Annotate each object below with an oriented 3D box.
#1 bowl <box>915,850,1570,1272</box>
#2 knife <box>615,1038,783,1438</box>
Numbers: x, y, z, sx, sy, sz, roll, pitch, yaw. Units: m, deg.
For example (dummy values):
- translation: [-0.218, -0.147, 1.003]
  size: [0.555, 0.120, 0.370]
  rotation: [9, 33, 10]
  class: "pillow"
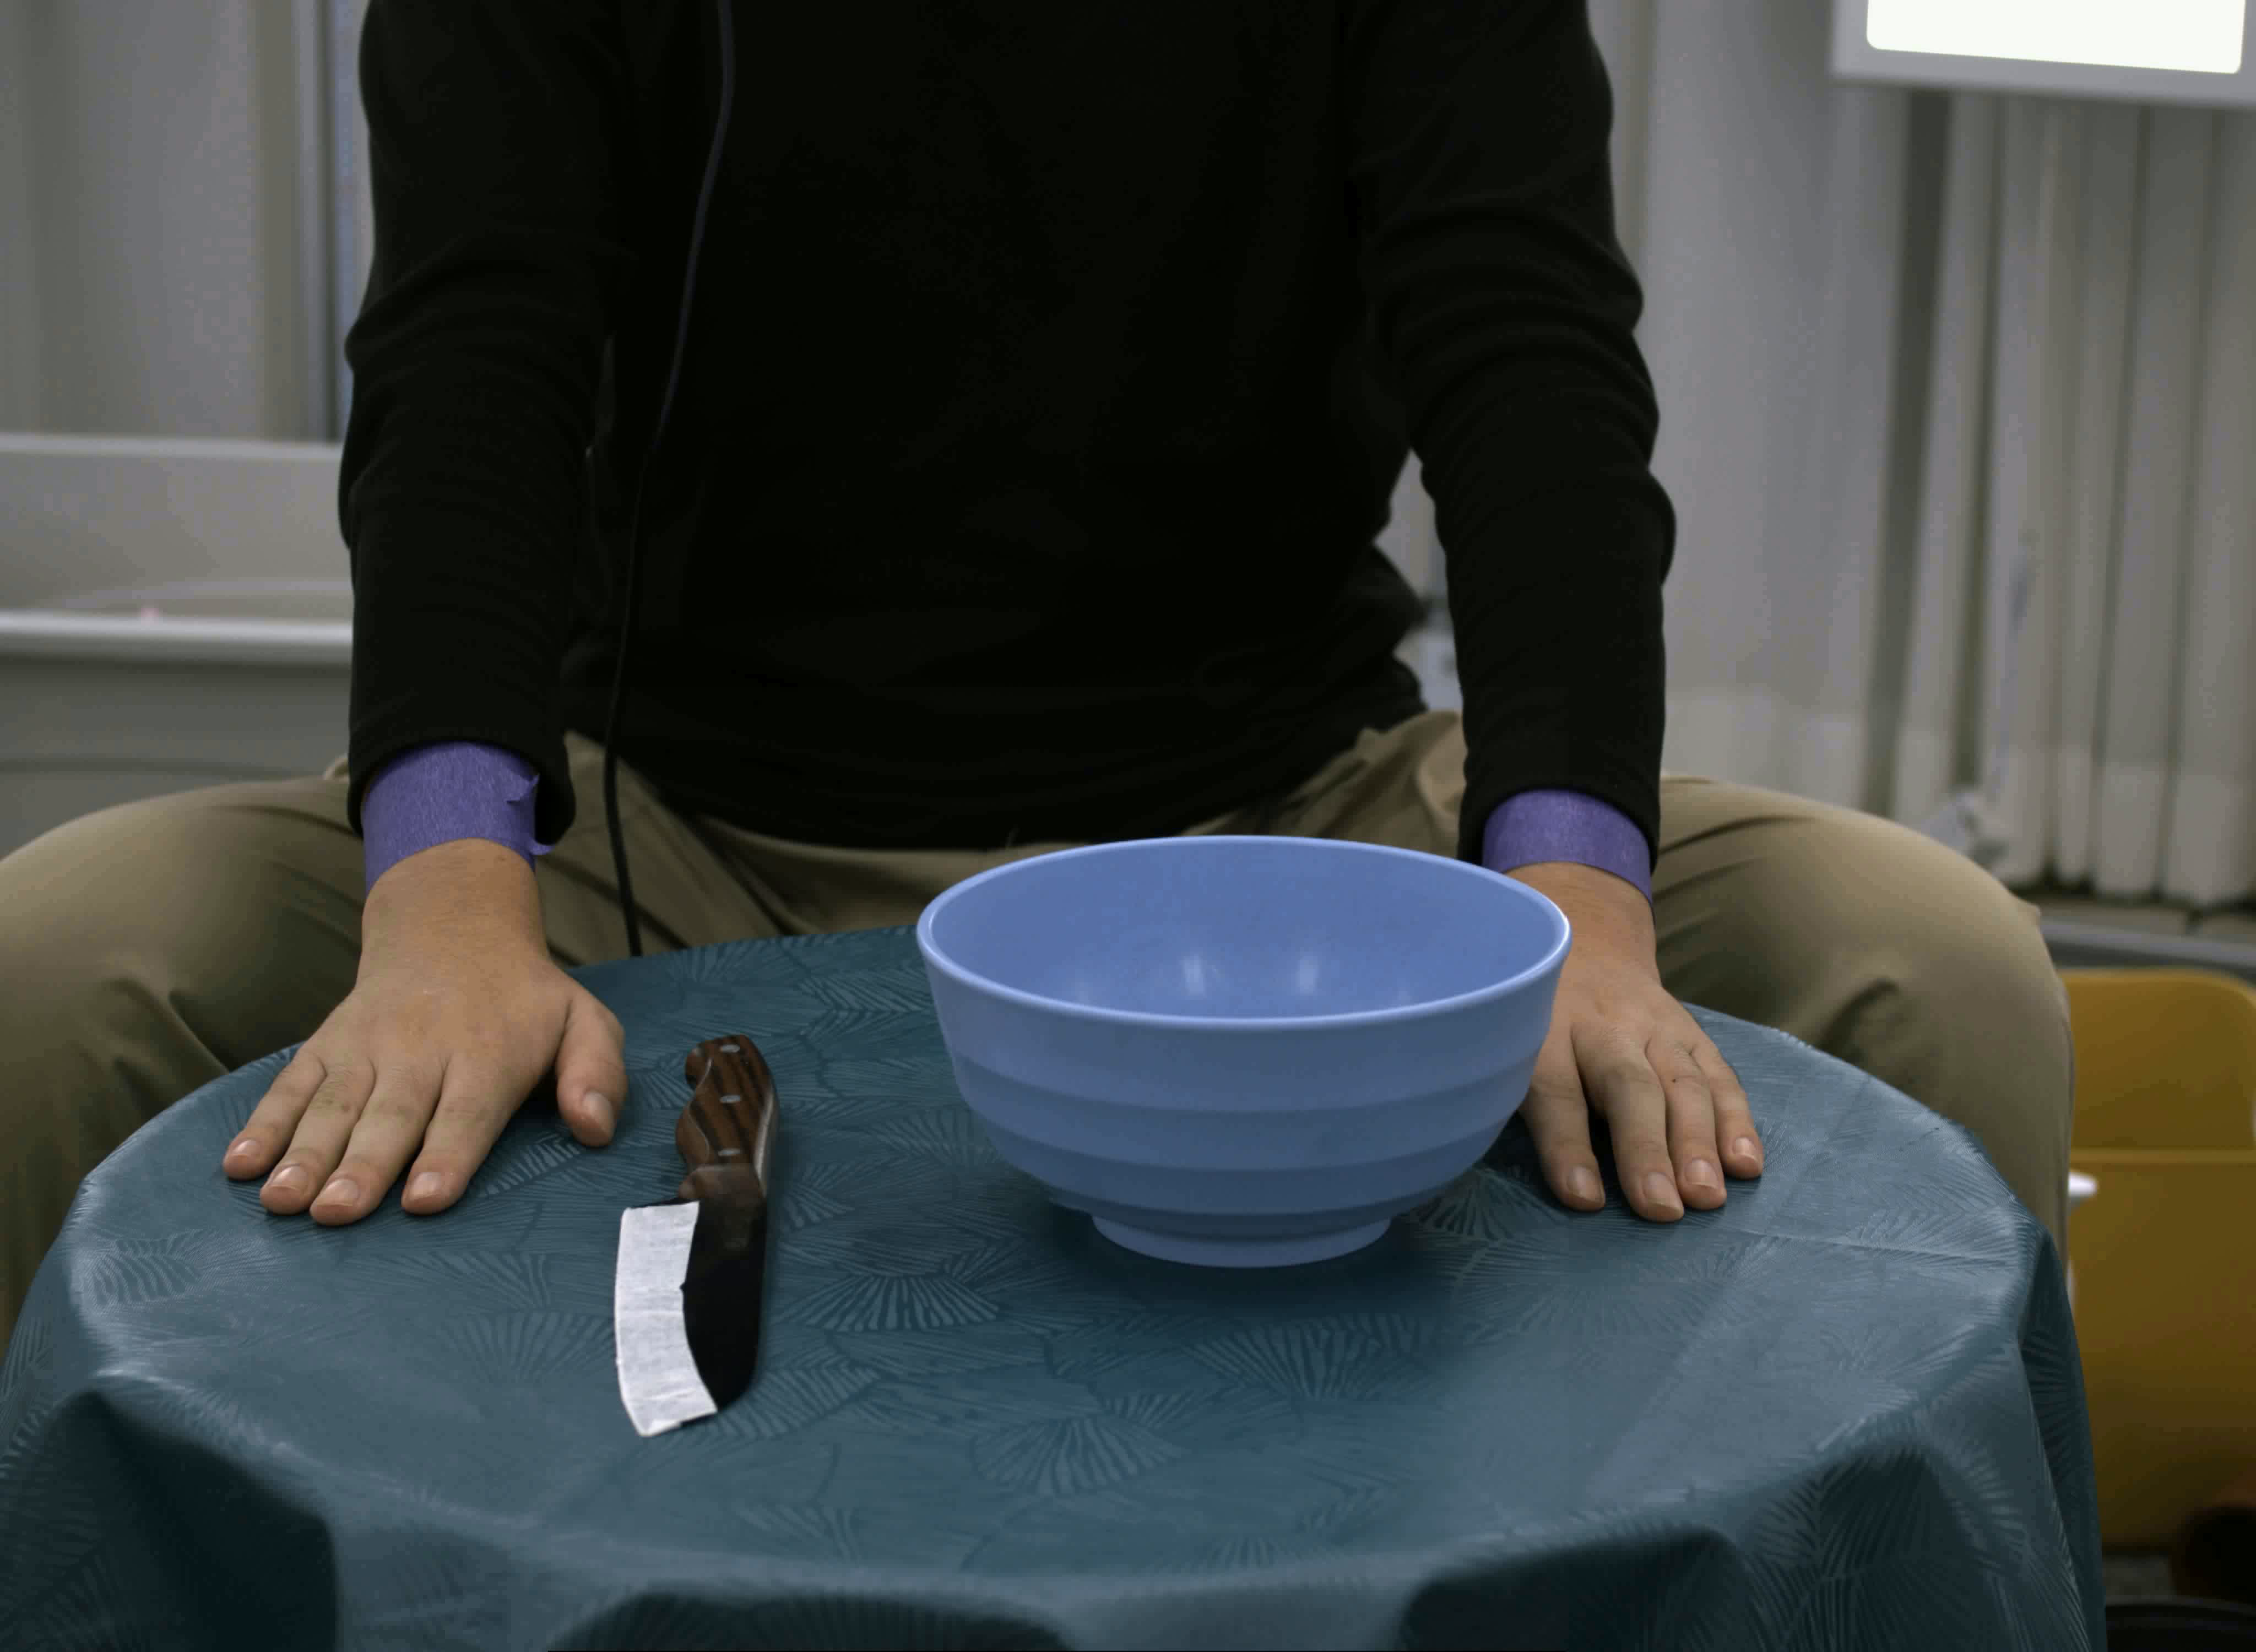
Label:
- translation: [0.035, 0.075, 1.587]
  size: [0.196, 0.096, 0.195]
  rotation: [0, 14, 1]
  class: "bowl"
- translation: [-0.126, 0.121, 1.561]
  size: [0.050, 0.020, 0.287]
  rotation: [-4, 18, 1]
  class: "knife"
